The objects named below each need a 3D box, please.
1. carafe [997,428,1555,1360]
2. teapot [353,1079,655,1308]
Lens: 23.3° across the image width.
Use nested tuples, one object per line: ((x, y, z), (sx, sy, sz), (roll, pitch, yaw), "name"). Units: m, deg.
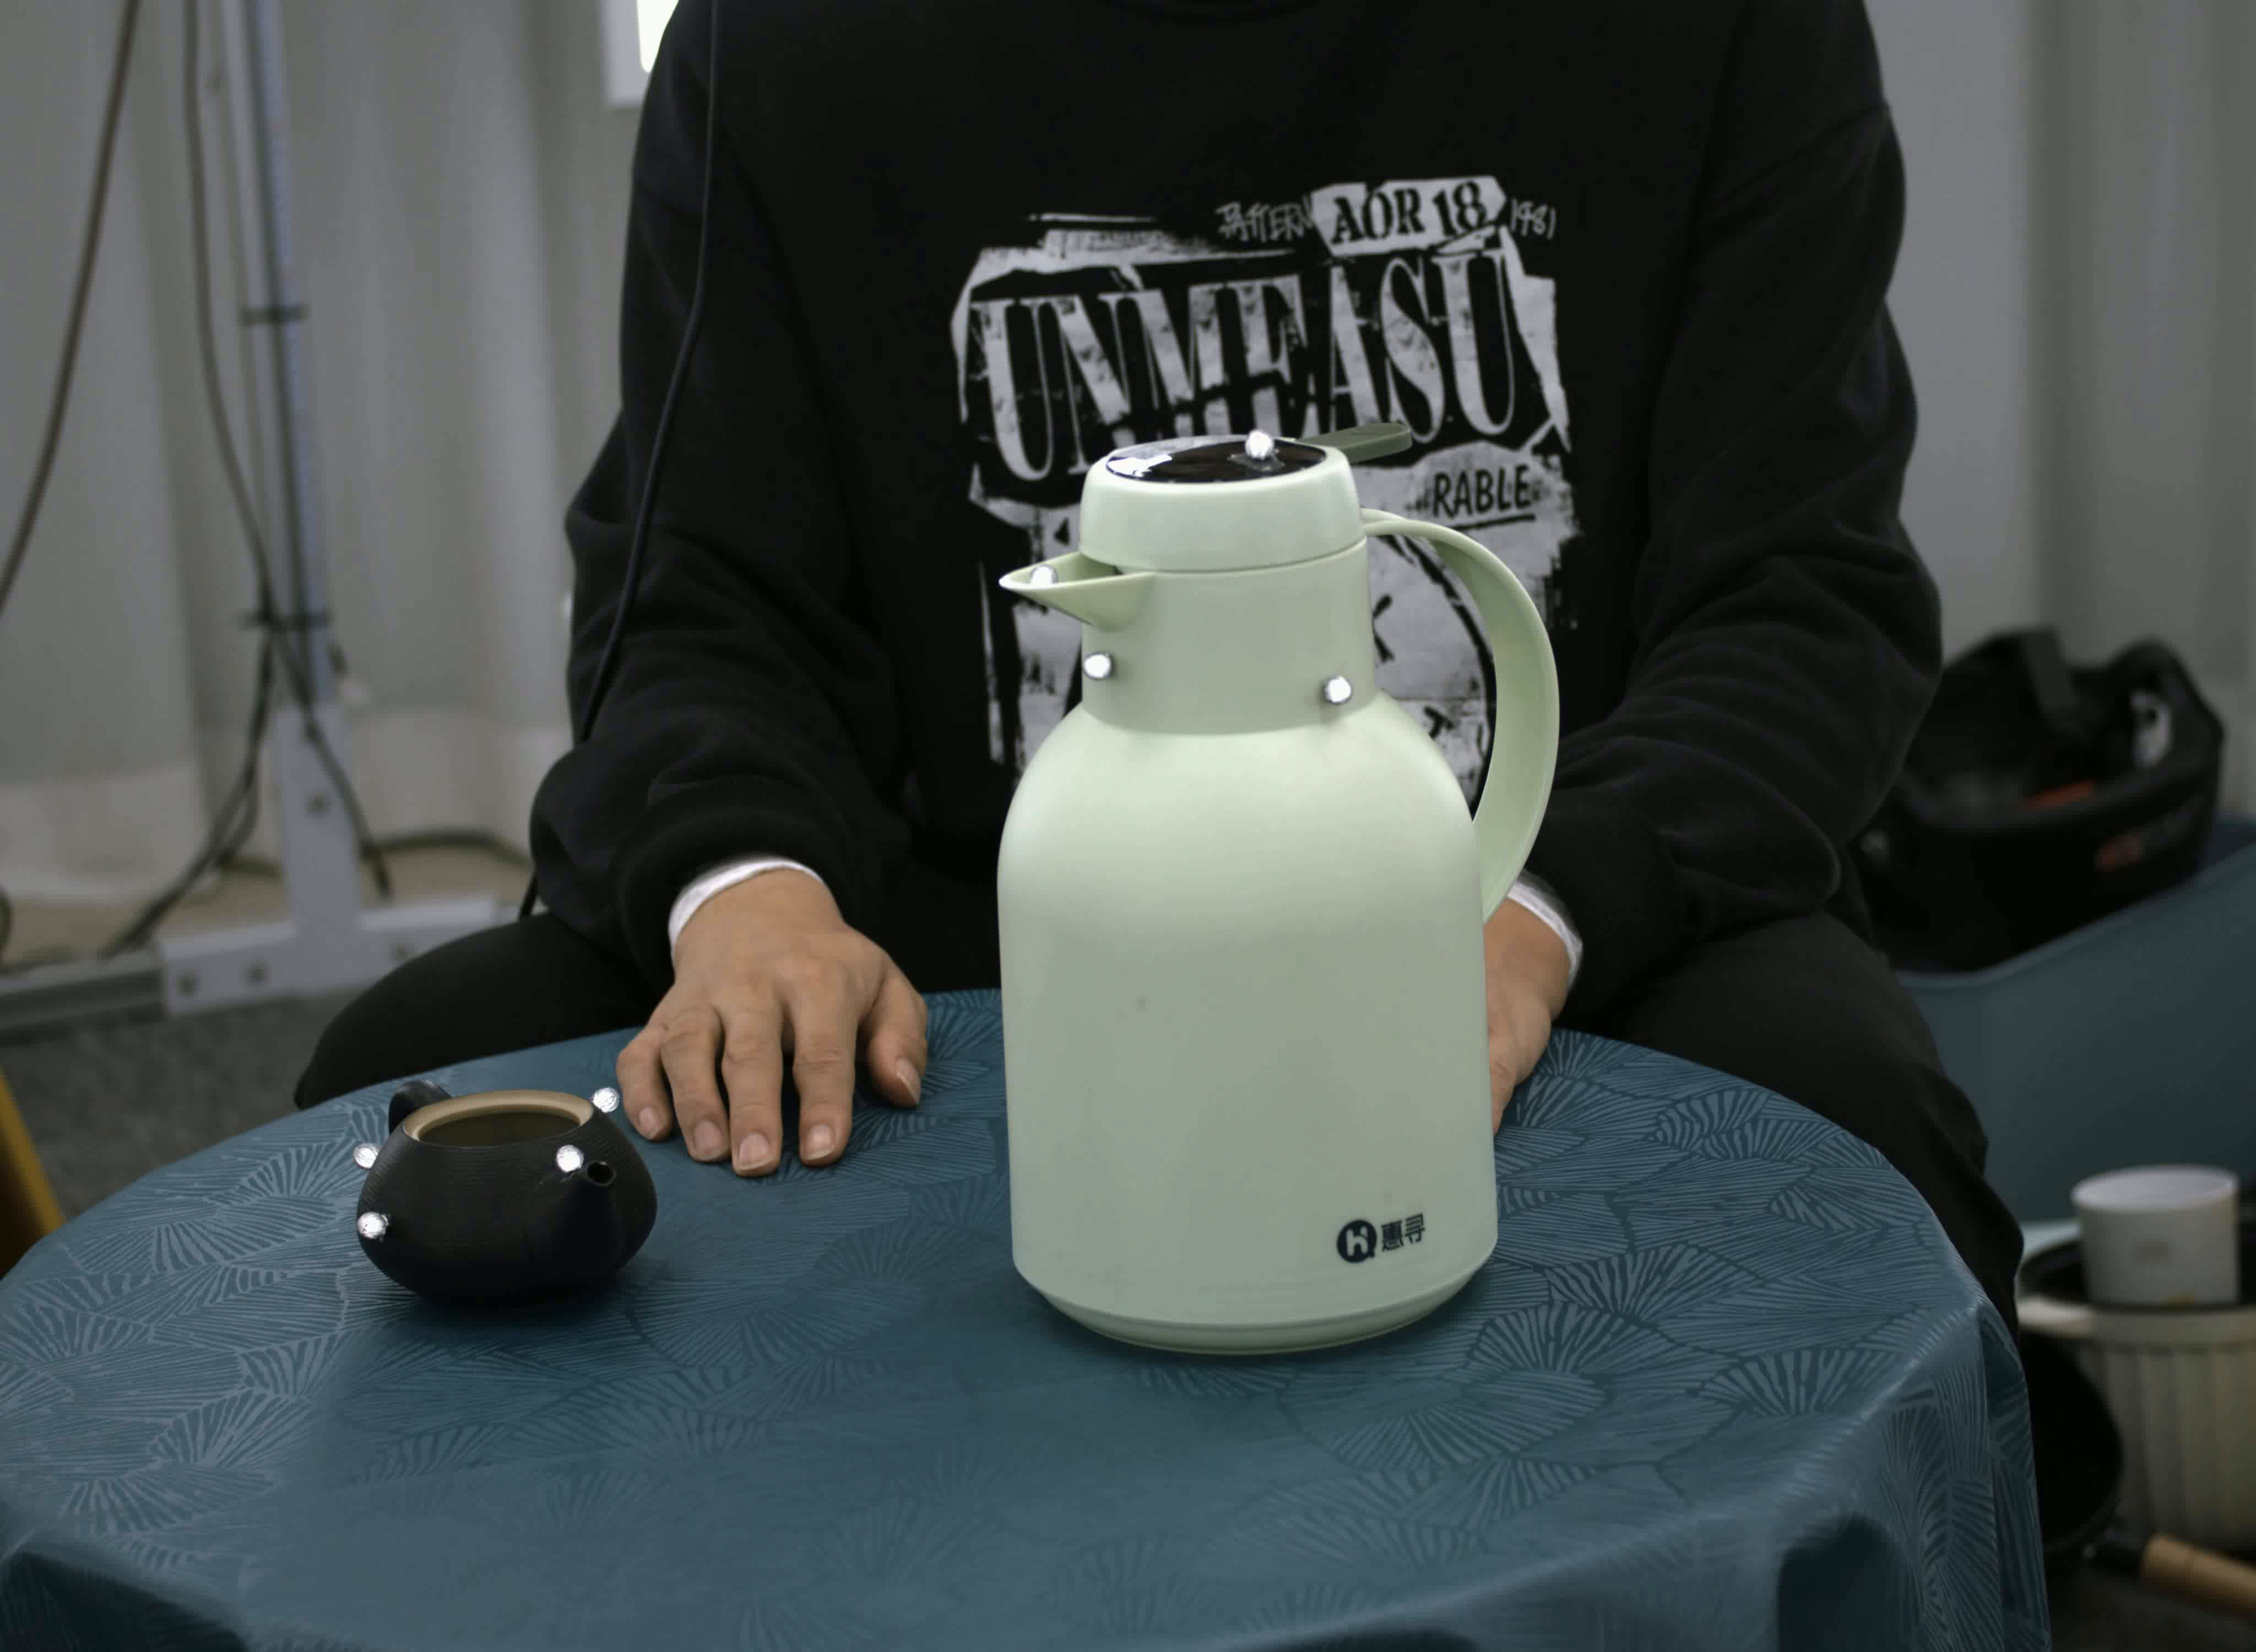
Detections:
((0.044, 0.015, 1.601), (0.186, 0.256, 0.145), (-8, 13, -33), "carafe")
((-0.189, 0.113, 1.654), (0.090, 0.053, 0.134), (-10, 16, -34), "teapot")
